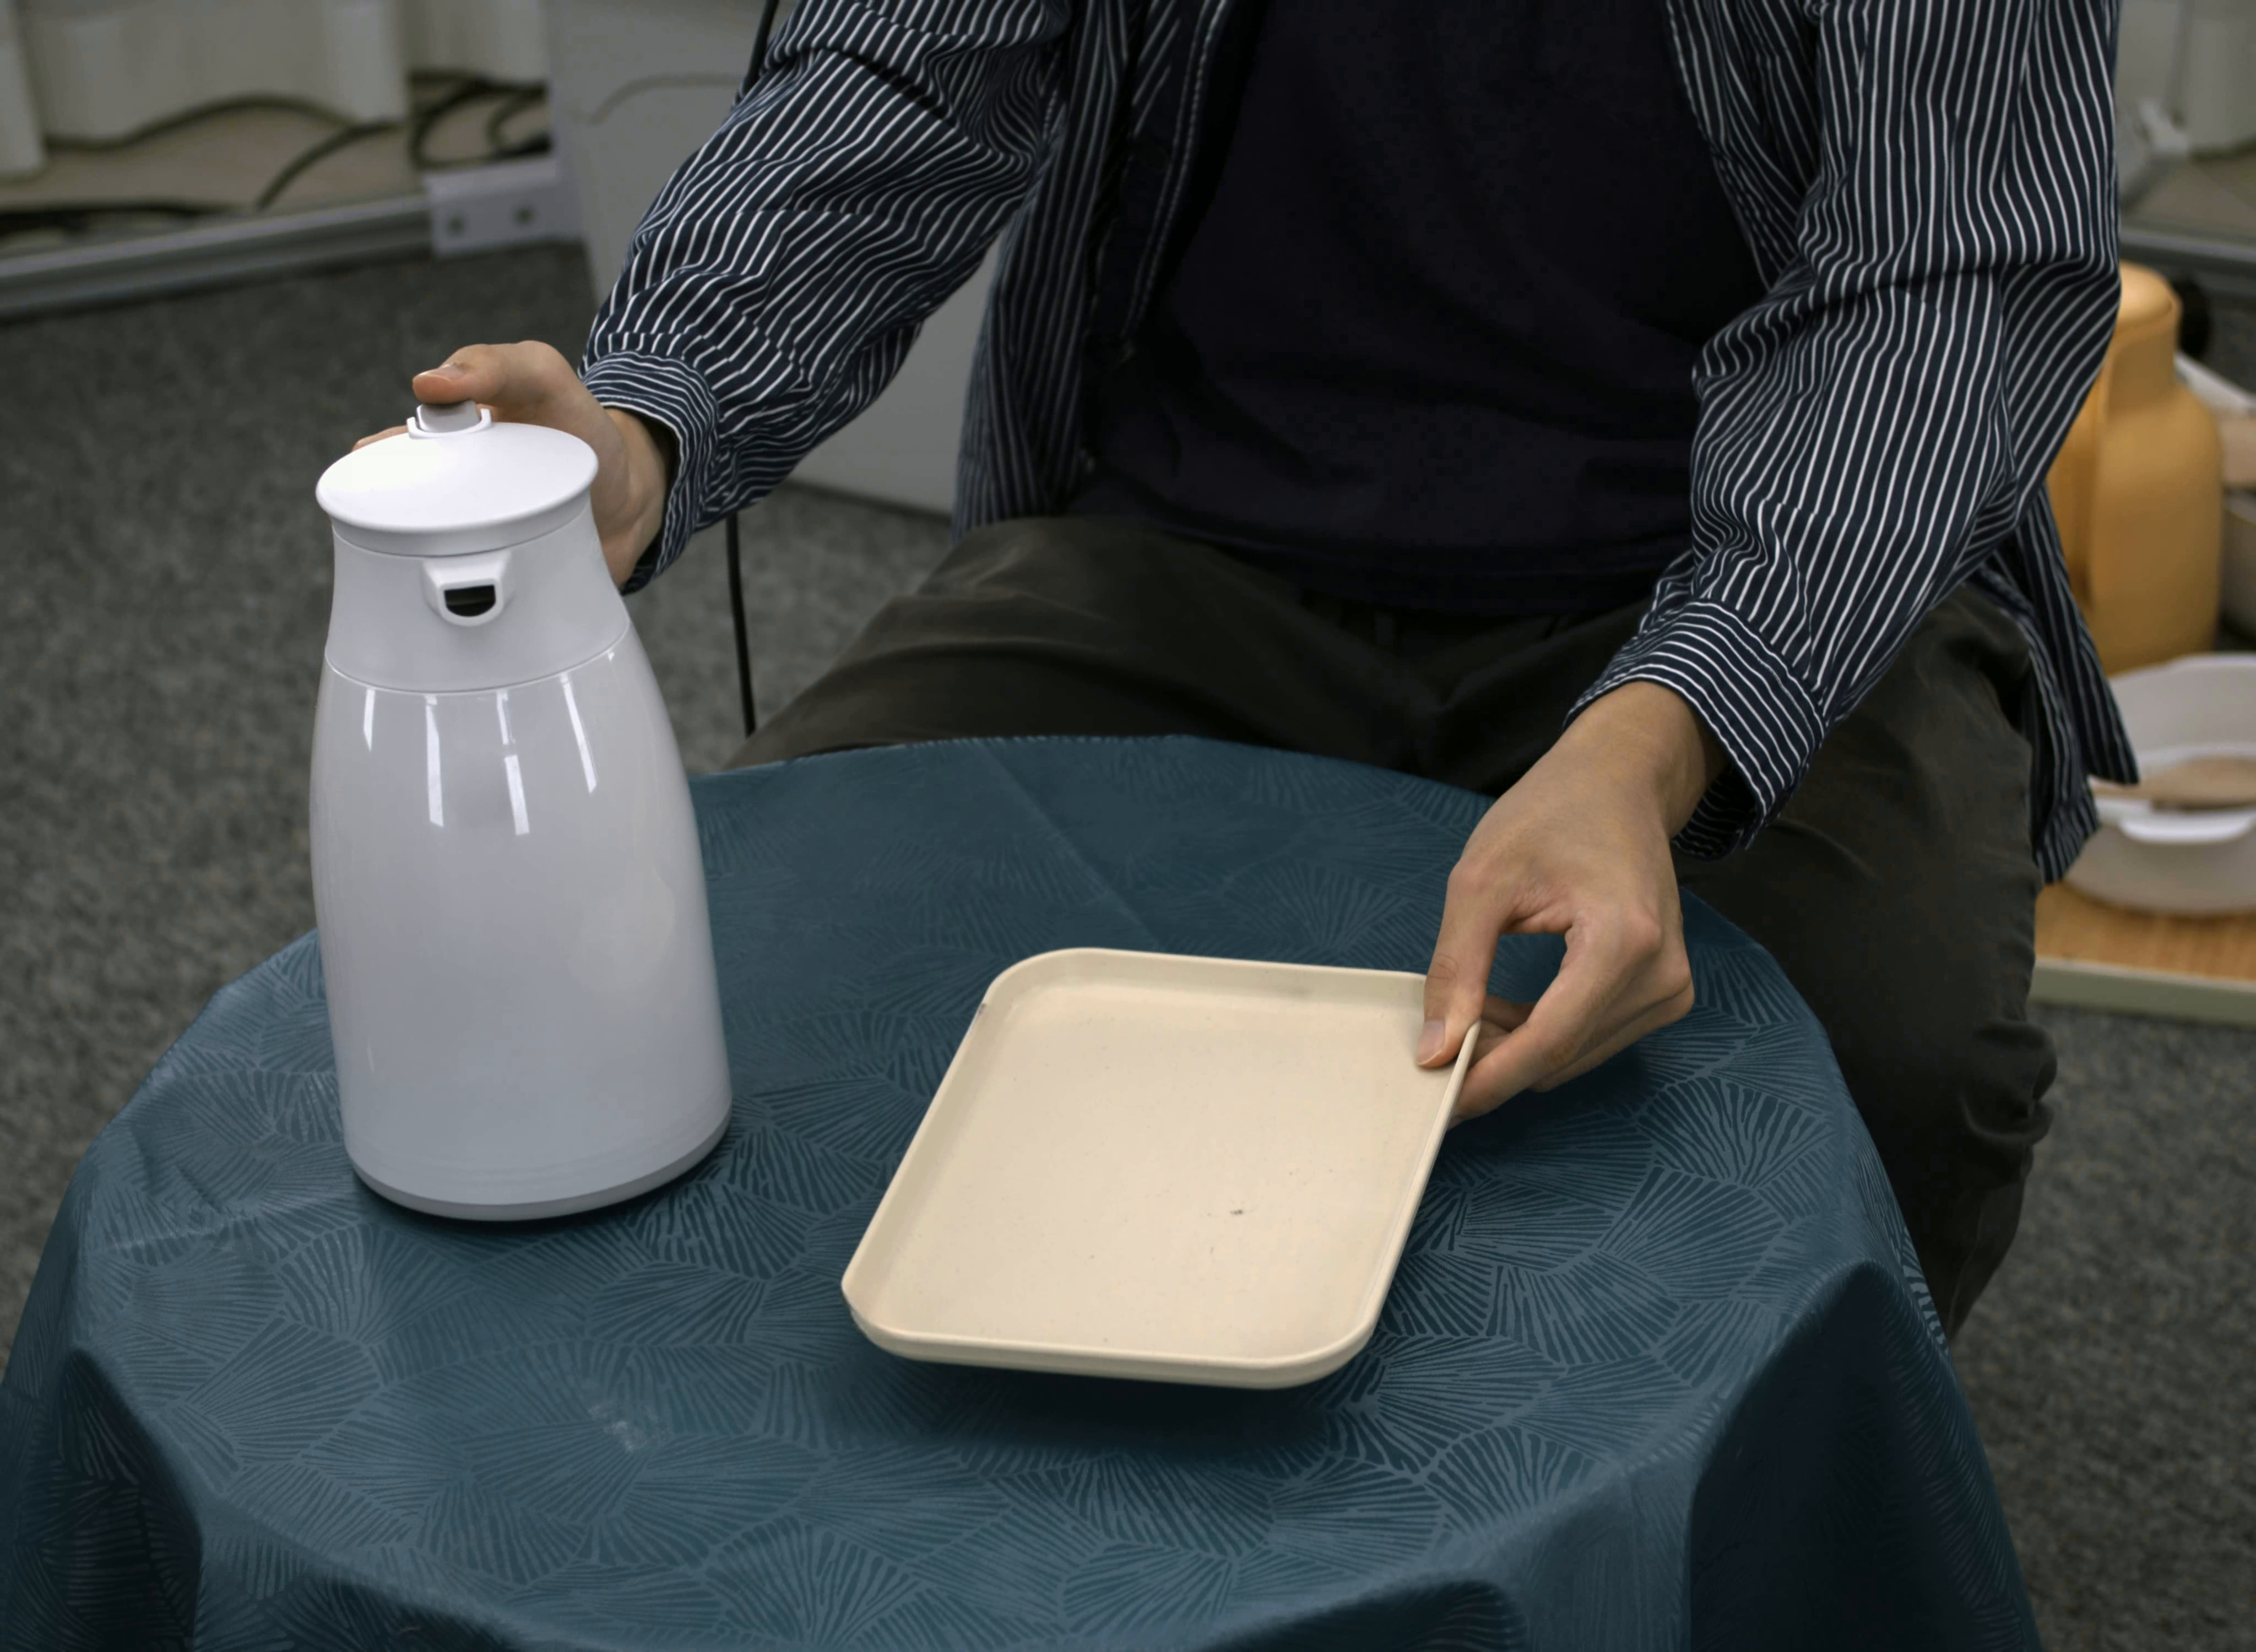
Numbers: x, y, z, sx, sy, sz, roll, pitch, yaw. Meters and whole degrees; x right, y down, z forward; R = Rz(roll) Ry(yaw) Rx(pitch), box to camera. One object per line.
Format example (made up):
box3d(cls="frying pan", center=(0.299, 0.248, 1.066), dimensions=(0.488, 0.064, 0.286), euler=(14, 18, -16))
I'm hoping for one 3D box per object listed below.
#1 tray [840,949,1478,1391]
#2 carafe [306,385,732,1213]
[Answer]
box3d(cls="tray", center=(0.014, 0.109, 1.805), dimensions=(0.170, 0.017, 0.244), euler=(4, 29, 13))
box3d(cls="carafe", center=(-0.214, -0.018, 1.873), dimensions=(0.132, 0.246, 0.169), euler=(-10, 23, -10))
